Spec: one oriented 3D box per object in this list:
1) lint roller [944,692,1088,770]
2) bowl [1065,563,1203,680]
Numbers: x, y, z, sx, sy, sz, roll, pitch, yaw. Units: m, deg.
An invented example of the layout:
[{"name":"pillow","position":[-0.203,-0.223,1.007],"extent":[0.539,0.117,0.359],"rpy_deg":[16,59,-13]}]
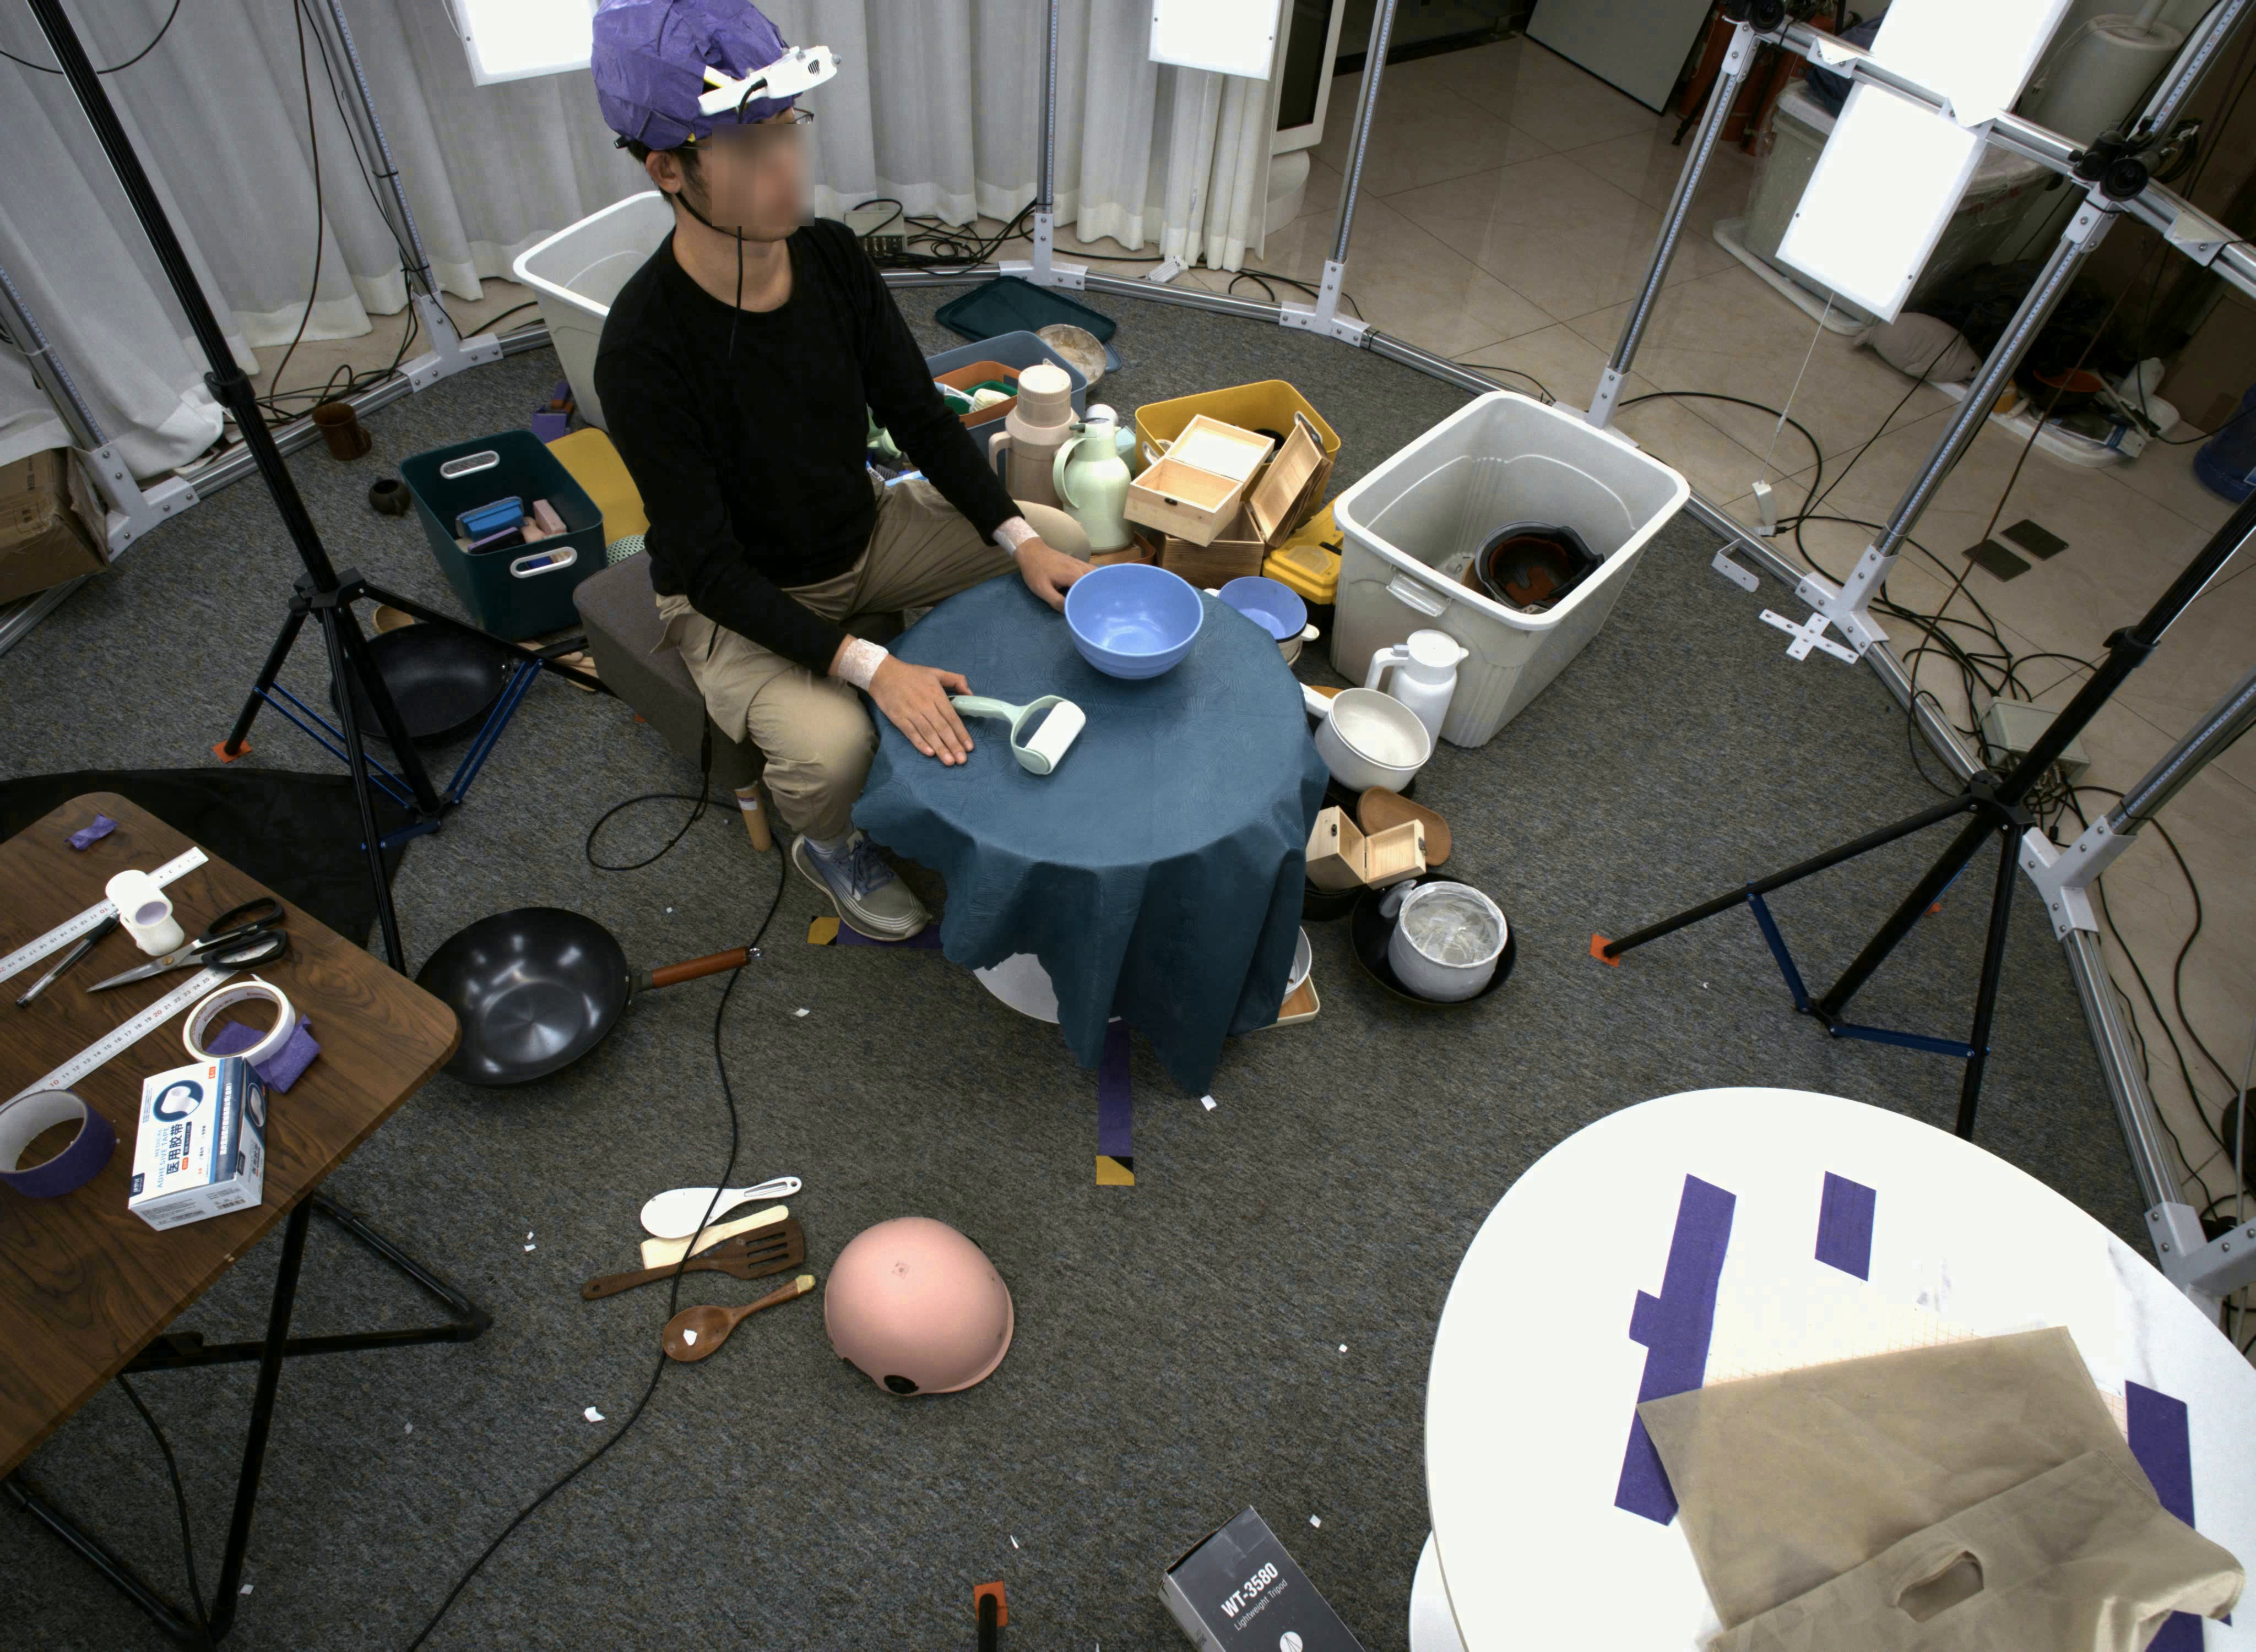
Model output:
[{"name":"lint roller","position":[-0.163,-0.151,1.762],"extent":[0.199,0.047,0.119],"rpy_deg":[21,52,16]},{"name":"bowl","position":[0.006,-0.279,1.851],"extent":[0.196,0.093,0.201],"rpy_deg":[1,50,-2]}]
